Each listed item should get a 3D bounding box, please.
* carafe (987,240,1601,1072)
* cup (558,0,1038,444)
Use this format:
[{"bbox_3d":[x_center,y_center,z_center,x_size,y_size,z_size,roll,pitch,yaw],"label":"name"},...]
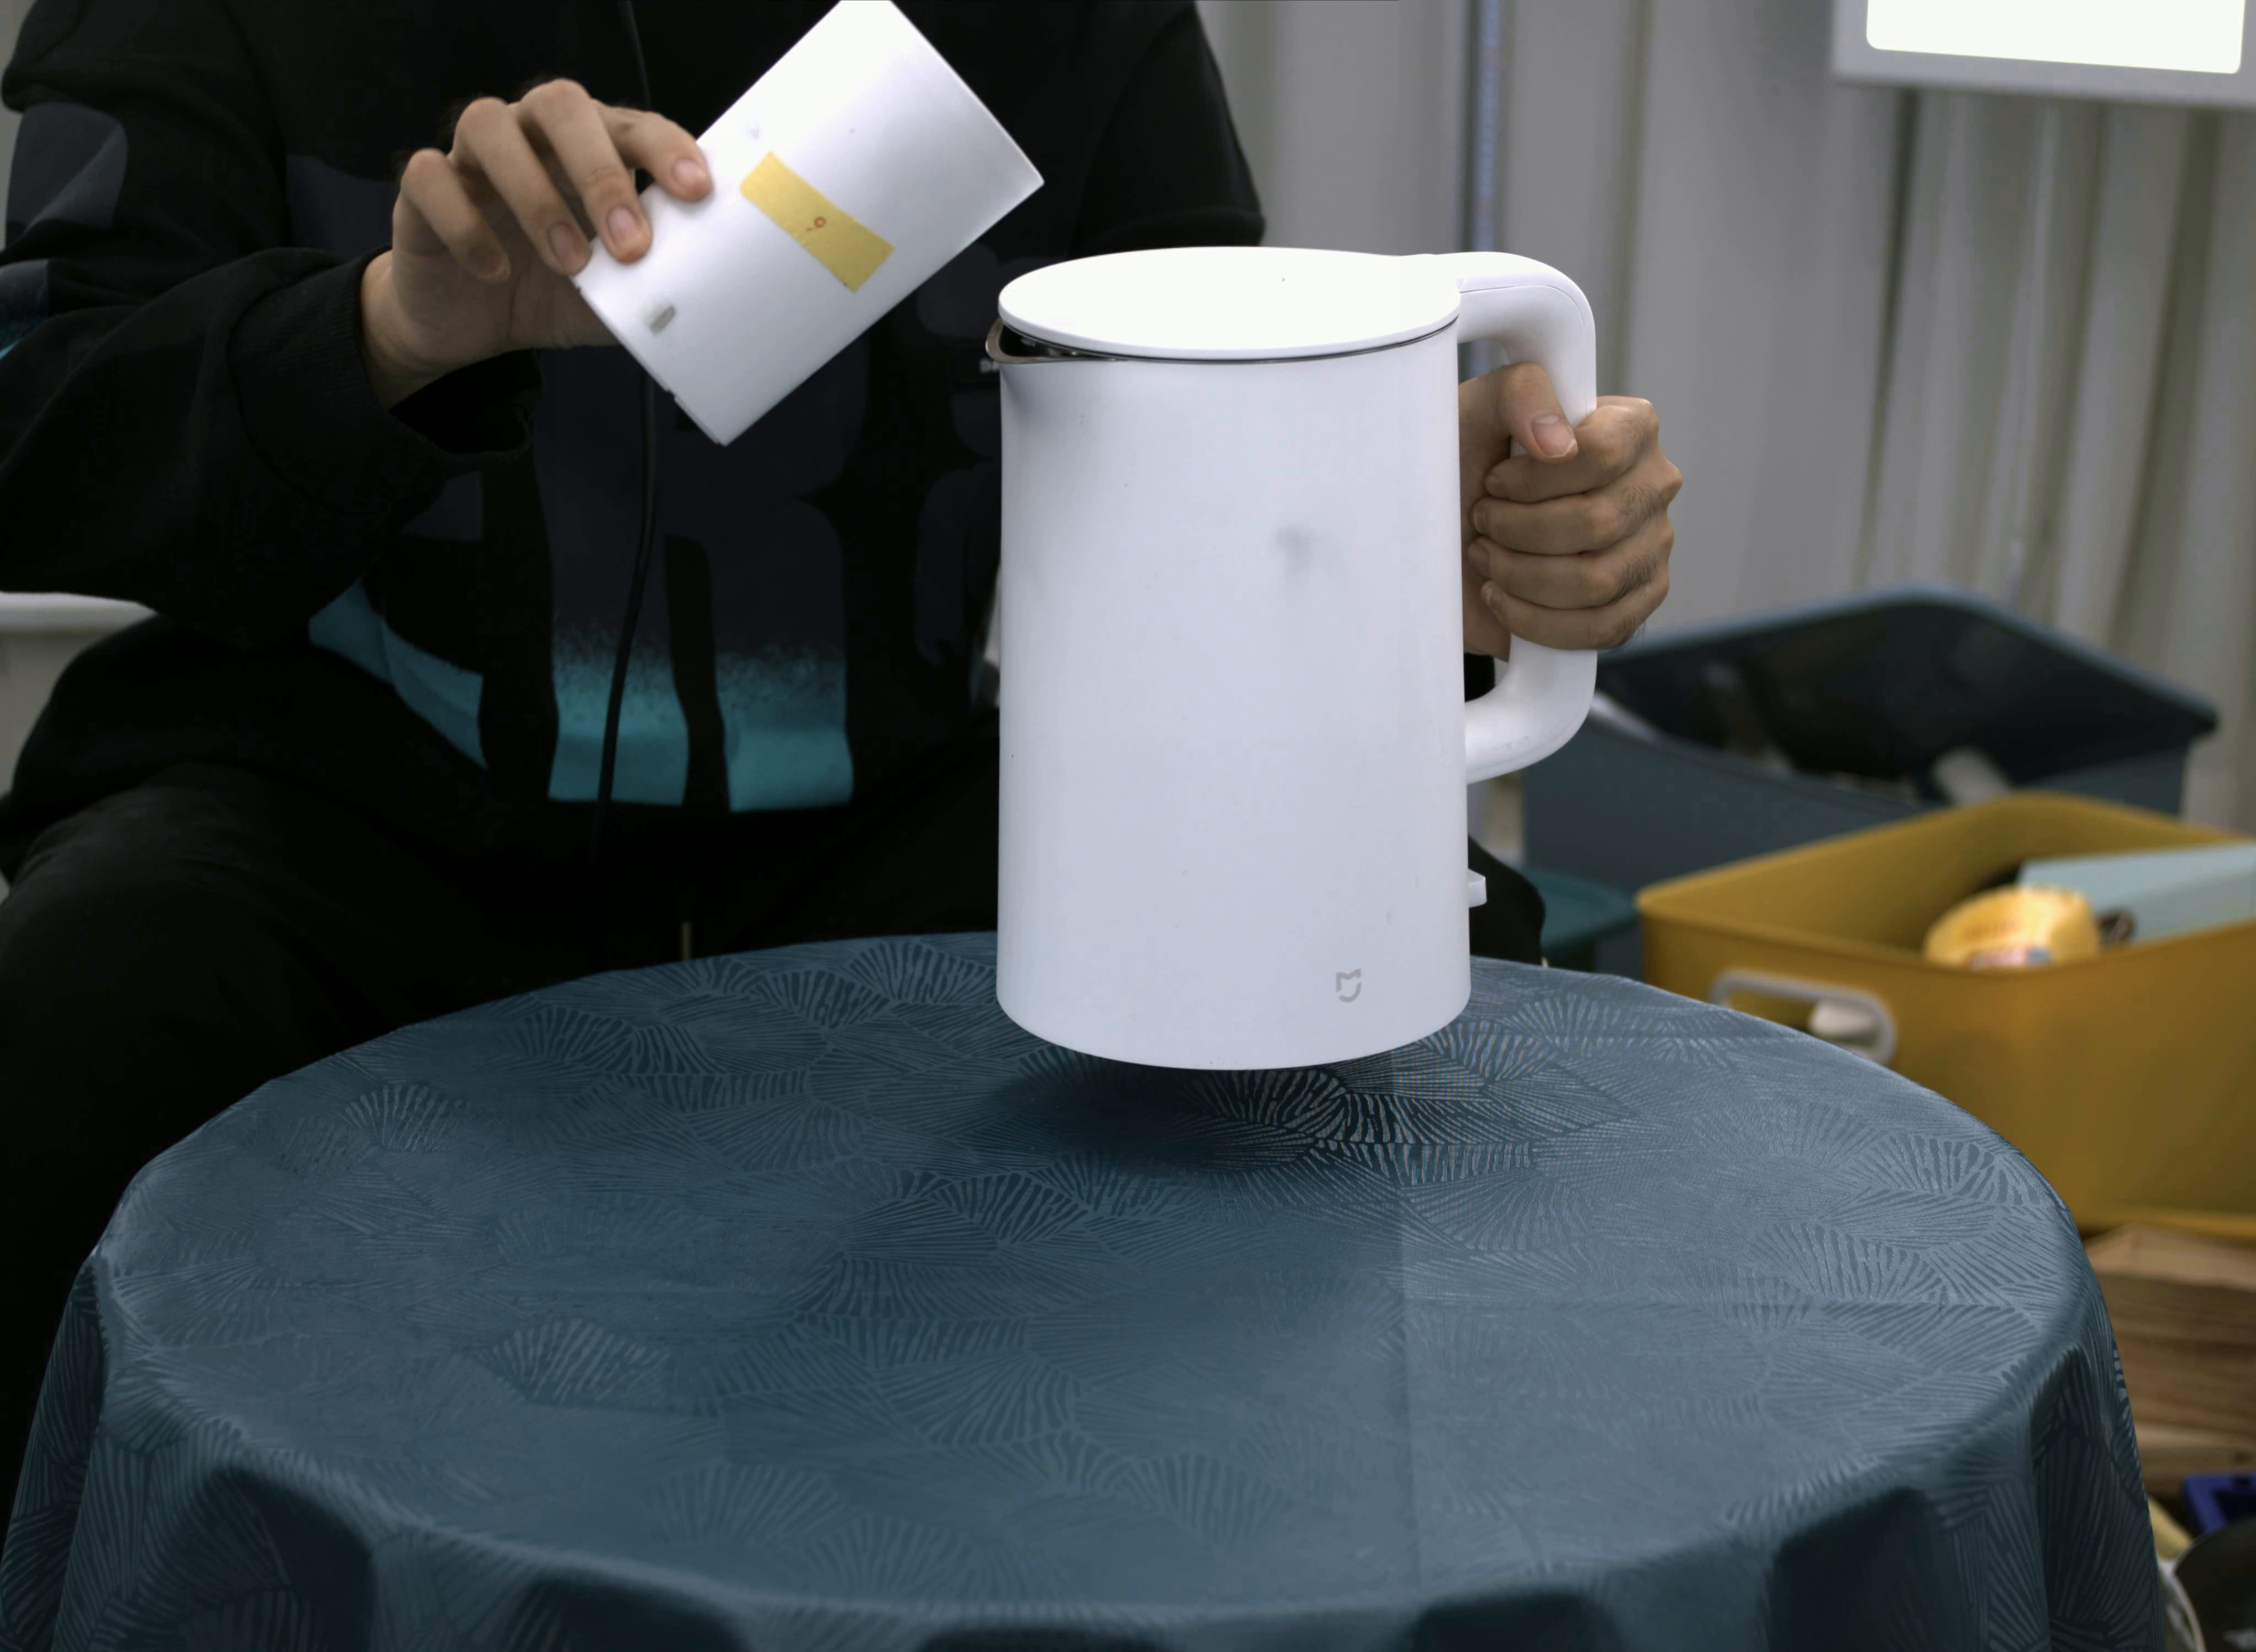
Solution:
[{"bbox_3d":[0.056,-0.060,1.664,0.214,0.242,0.150,-11,22,-28],"label":"carafe"},{"bbox_3d":[-0.099,-0.180,1.552,0.125,0.082,0.081,-42,21,1],"label":"cup"}]
